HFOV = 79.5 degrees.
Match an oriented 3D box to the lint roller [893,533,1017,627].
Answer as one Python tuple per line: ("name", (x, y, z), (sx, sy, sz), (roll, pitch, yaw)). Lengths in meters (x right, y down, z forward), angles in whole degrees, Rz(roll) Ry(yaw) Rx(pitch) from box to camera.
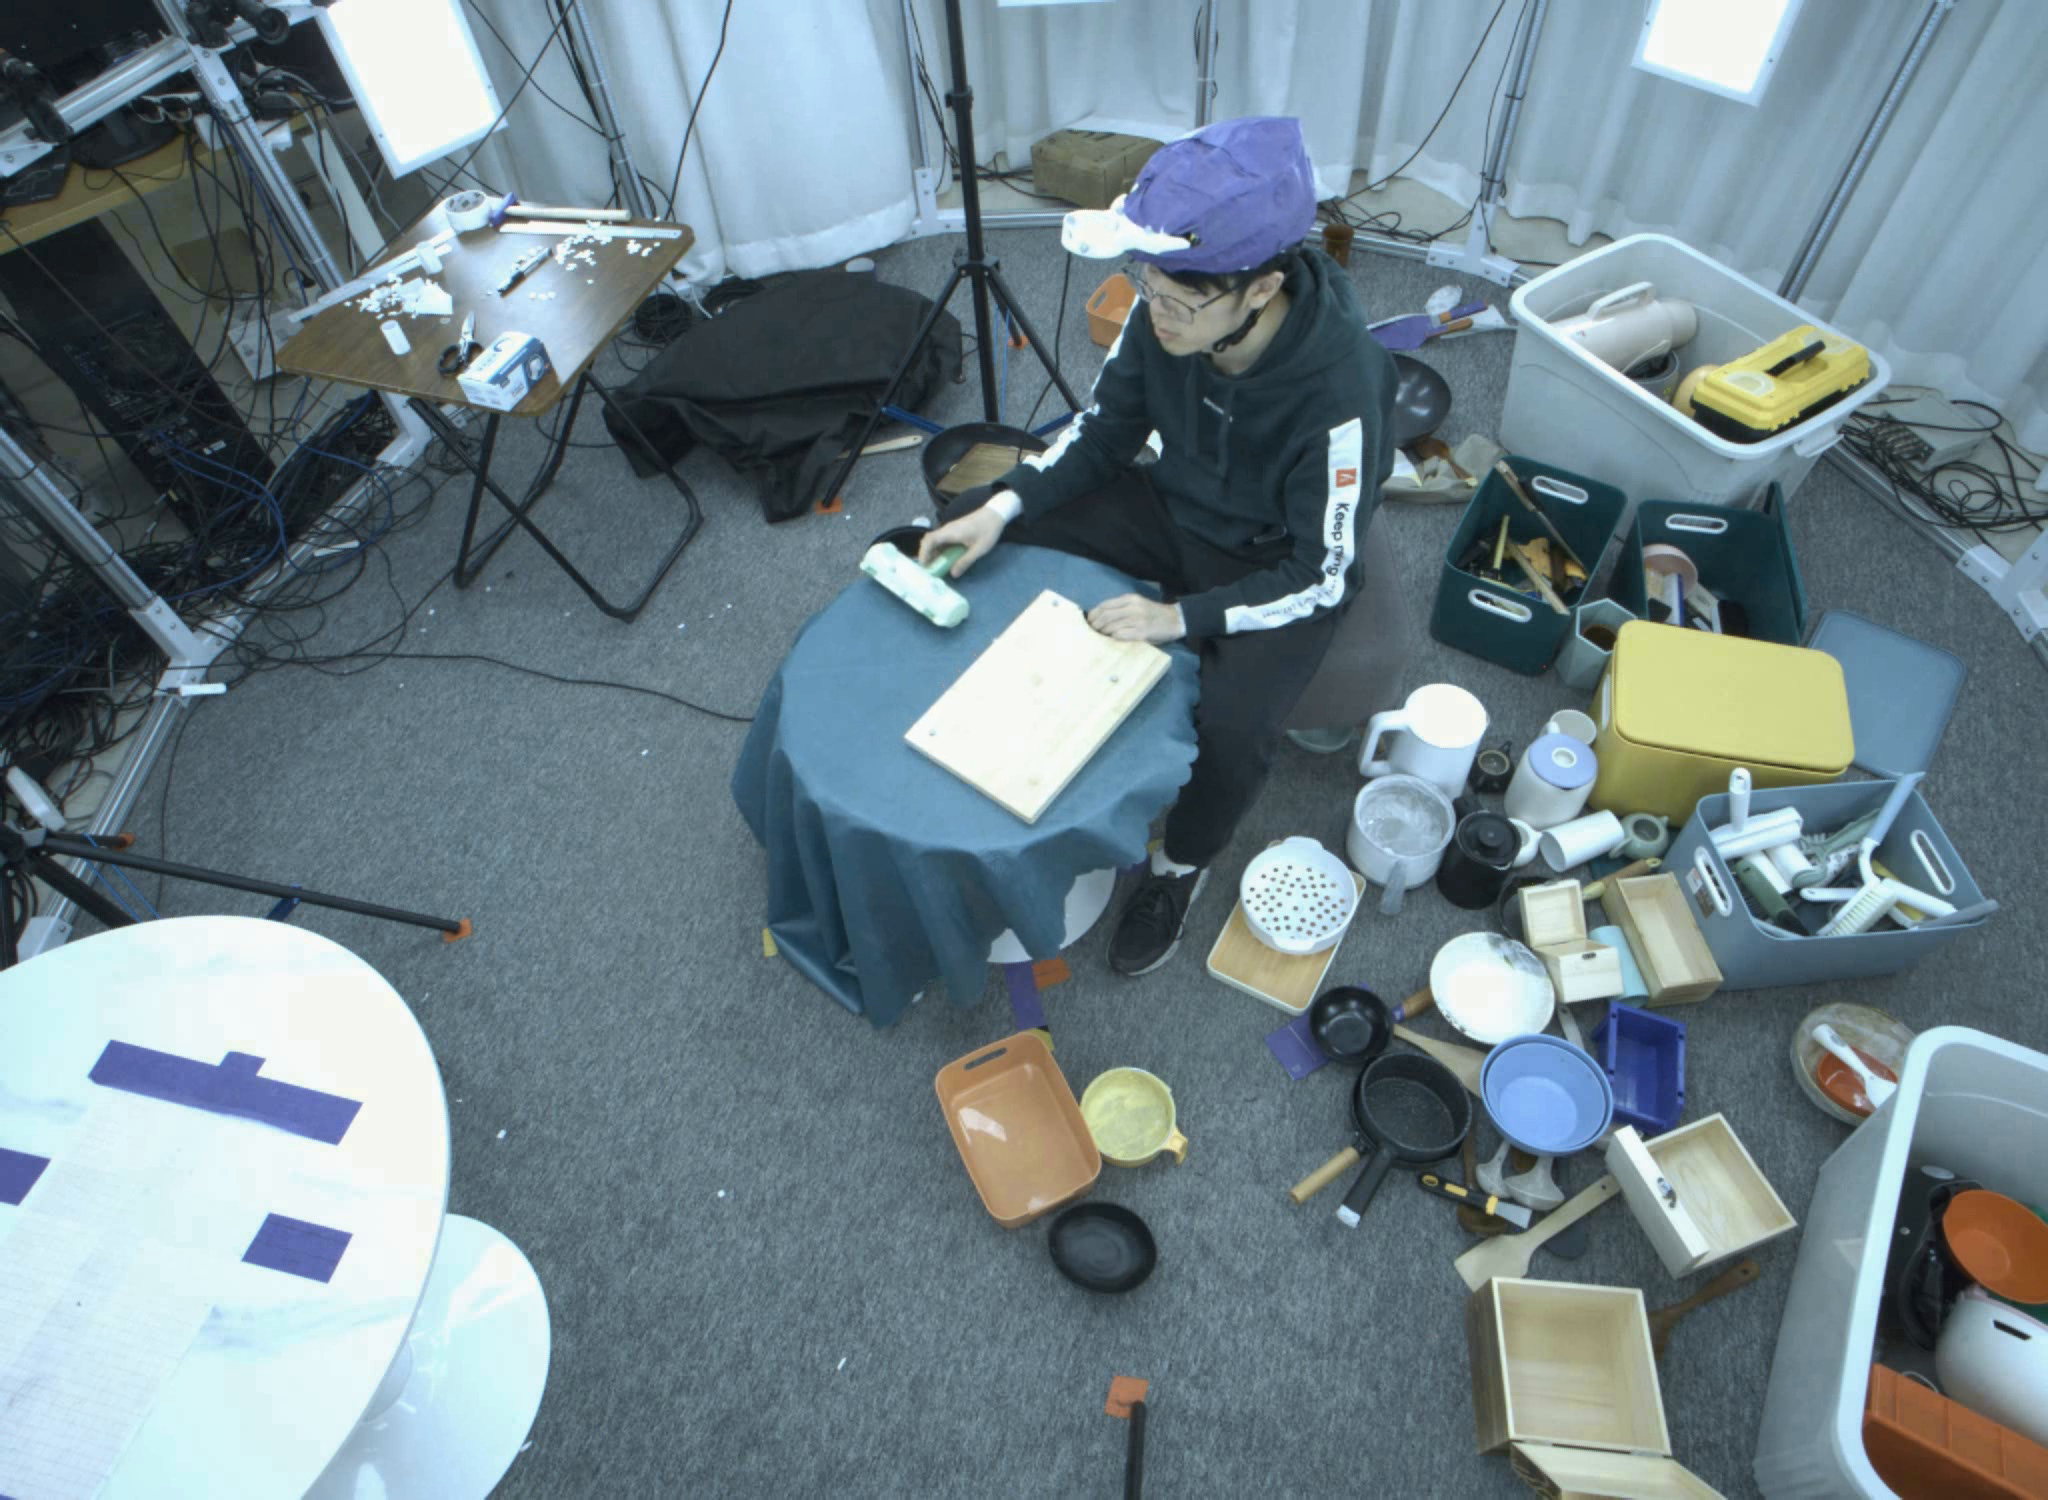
("lint roller", (-0.085, -0.303, 1.946), (0.184, 0.083, 0.195), (-43, 63, -14))

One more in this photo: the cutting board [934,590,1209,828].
("cutting board", (0.069, -0.070, 1.805), (0.246, 0.024, 0.350), (34, 67, 22))
